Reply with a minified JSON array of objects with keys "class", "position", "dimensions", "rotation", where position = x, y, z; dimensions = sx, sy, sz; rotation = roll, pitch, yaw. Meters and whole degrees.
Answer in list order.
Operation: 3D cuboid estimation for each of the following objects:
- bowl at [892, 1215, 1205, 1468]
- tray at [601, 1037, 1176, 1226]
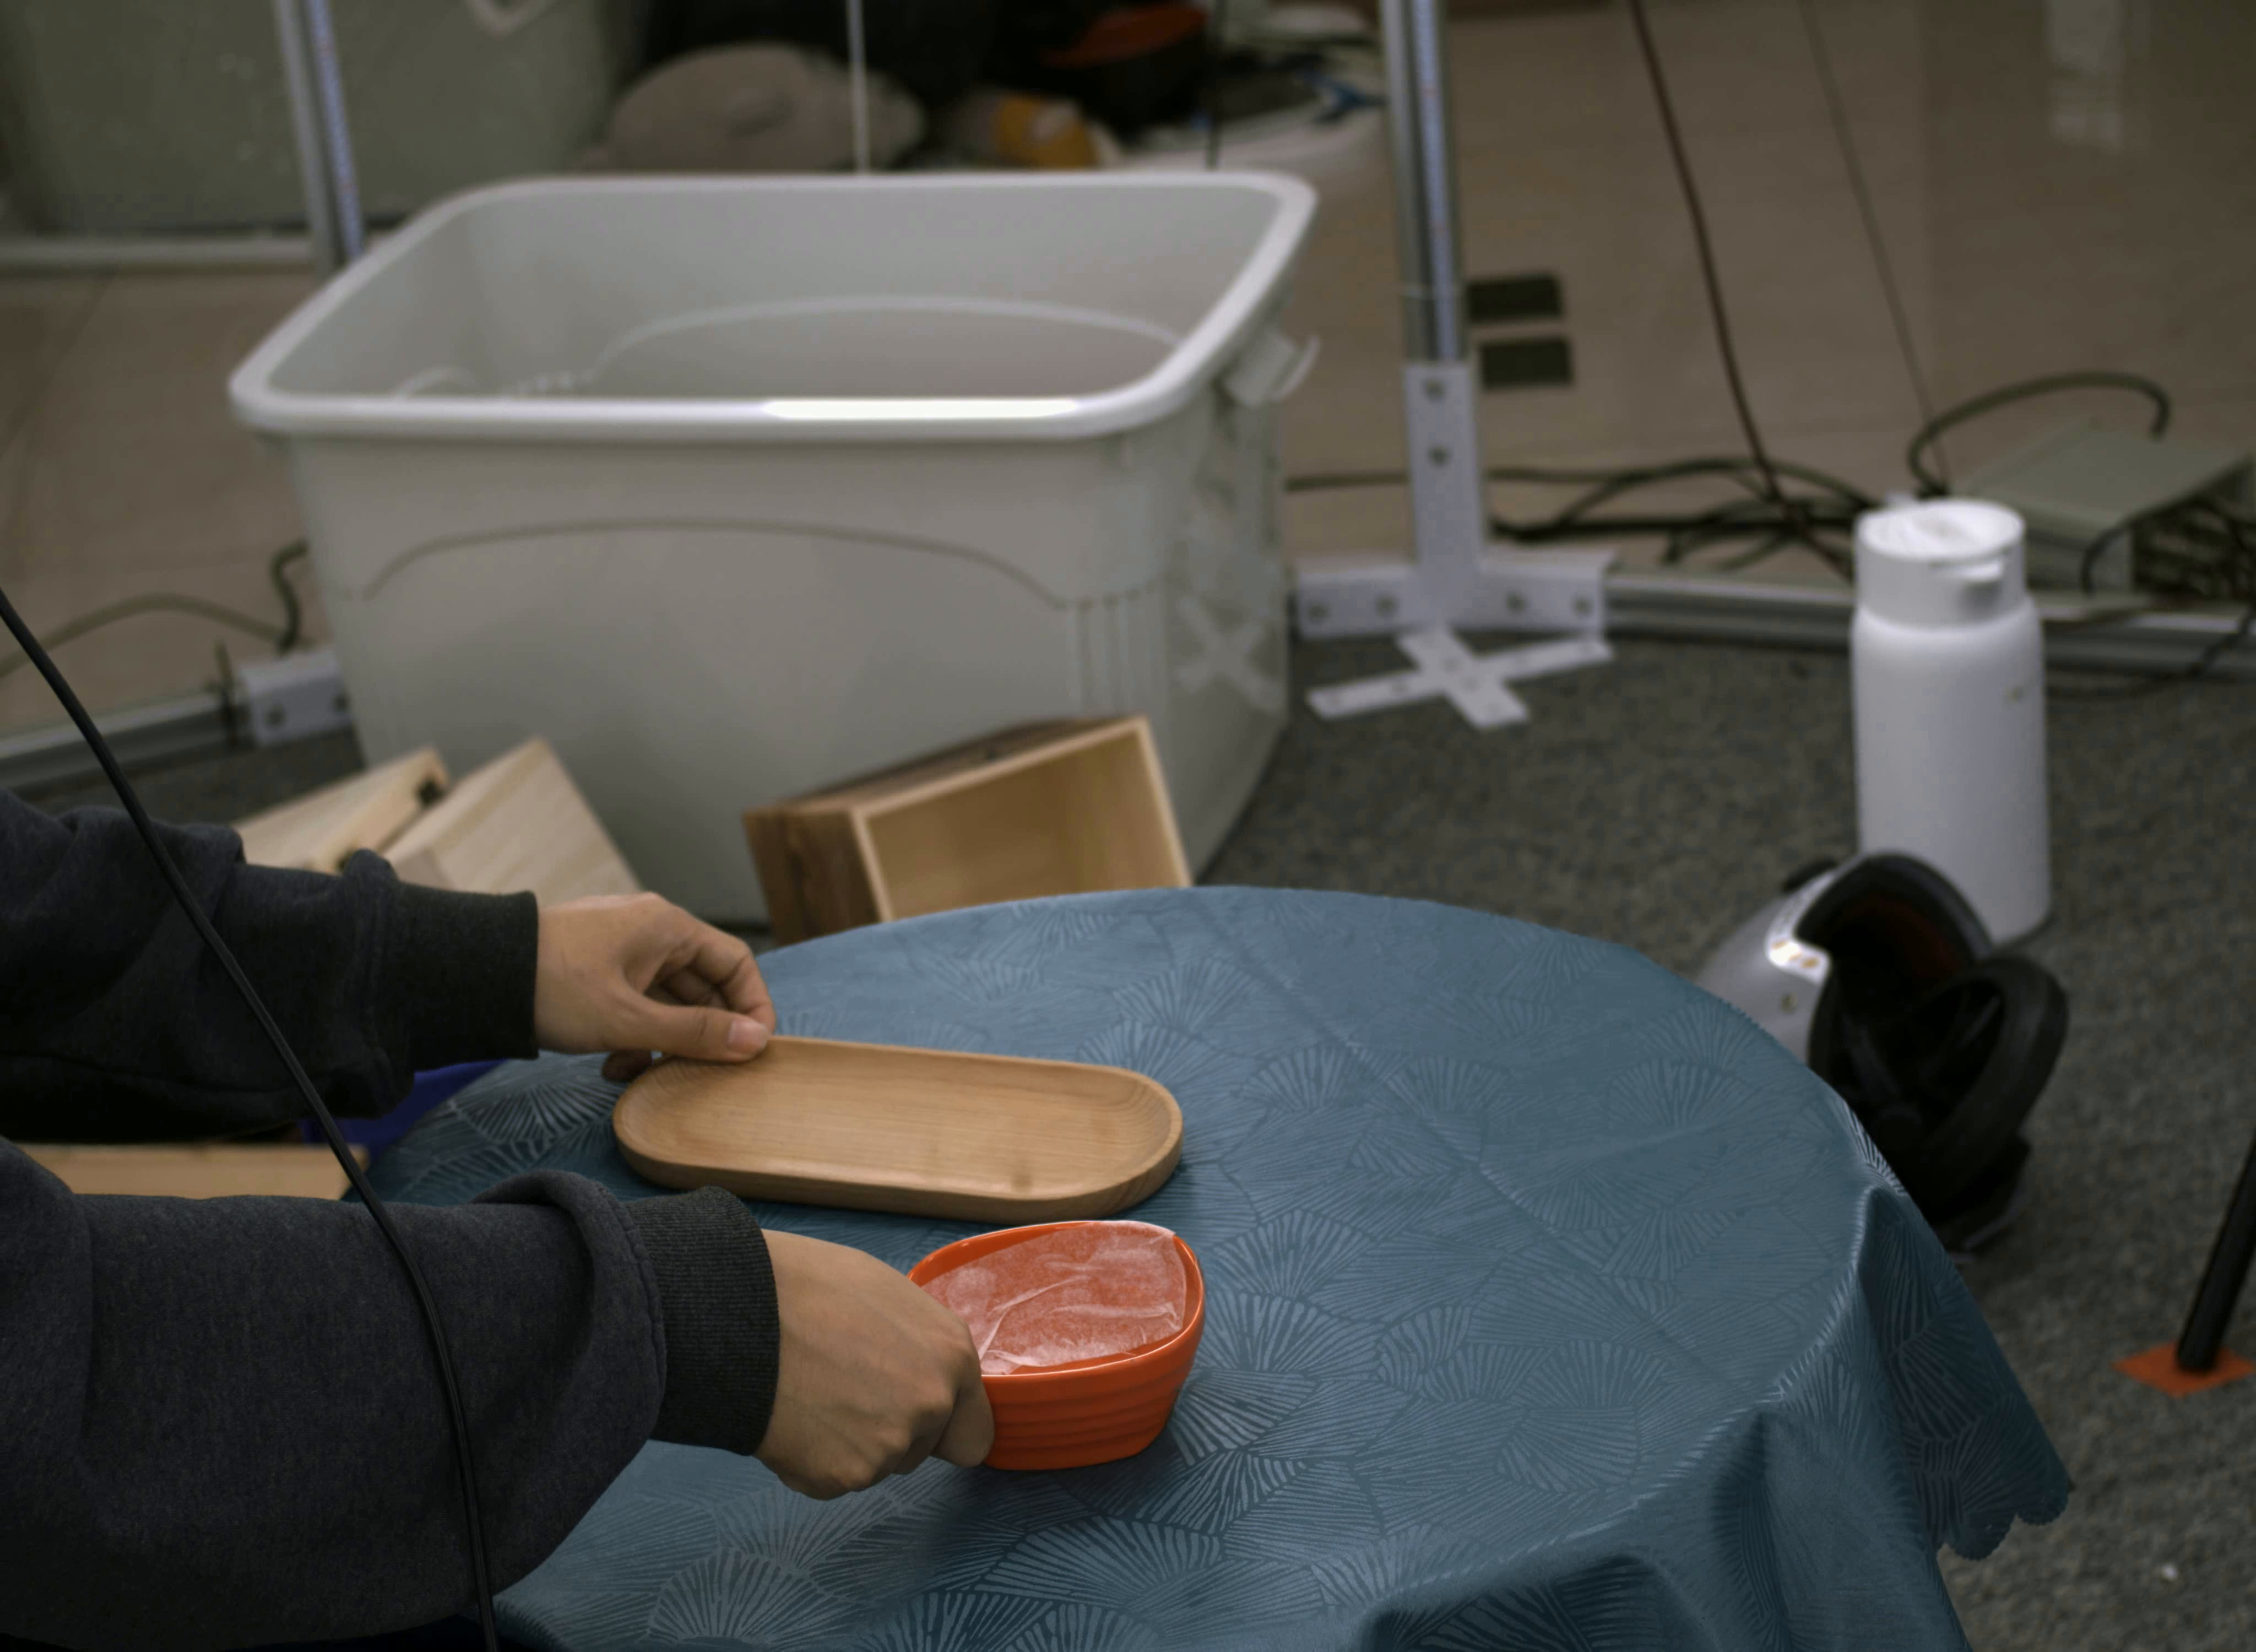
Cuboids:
[{"class":"bowl","position":[-0.026,0.185,1.989],"dimensions":[0.119,0.052,0.117],"rotation":[-5,26,2]},{"class":"tray","position":[-0.093,0.118,2.189],"dimensions":[0.230,0.020,0.100],"rotation":[3,29,19]}]
